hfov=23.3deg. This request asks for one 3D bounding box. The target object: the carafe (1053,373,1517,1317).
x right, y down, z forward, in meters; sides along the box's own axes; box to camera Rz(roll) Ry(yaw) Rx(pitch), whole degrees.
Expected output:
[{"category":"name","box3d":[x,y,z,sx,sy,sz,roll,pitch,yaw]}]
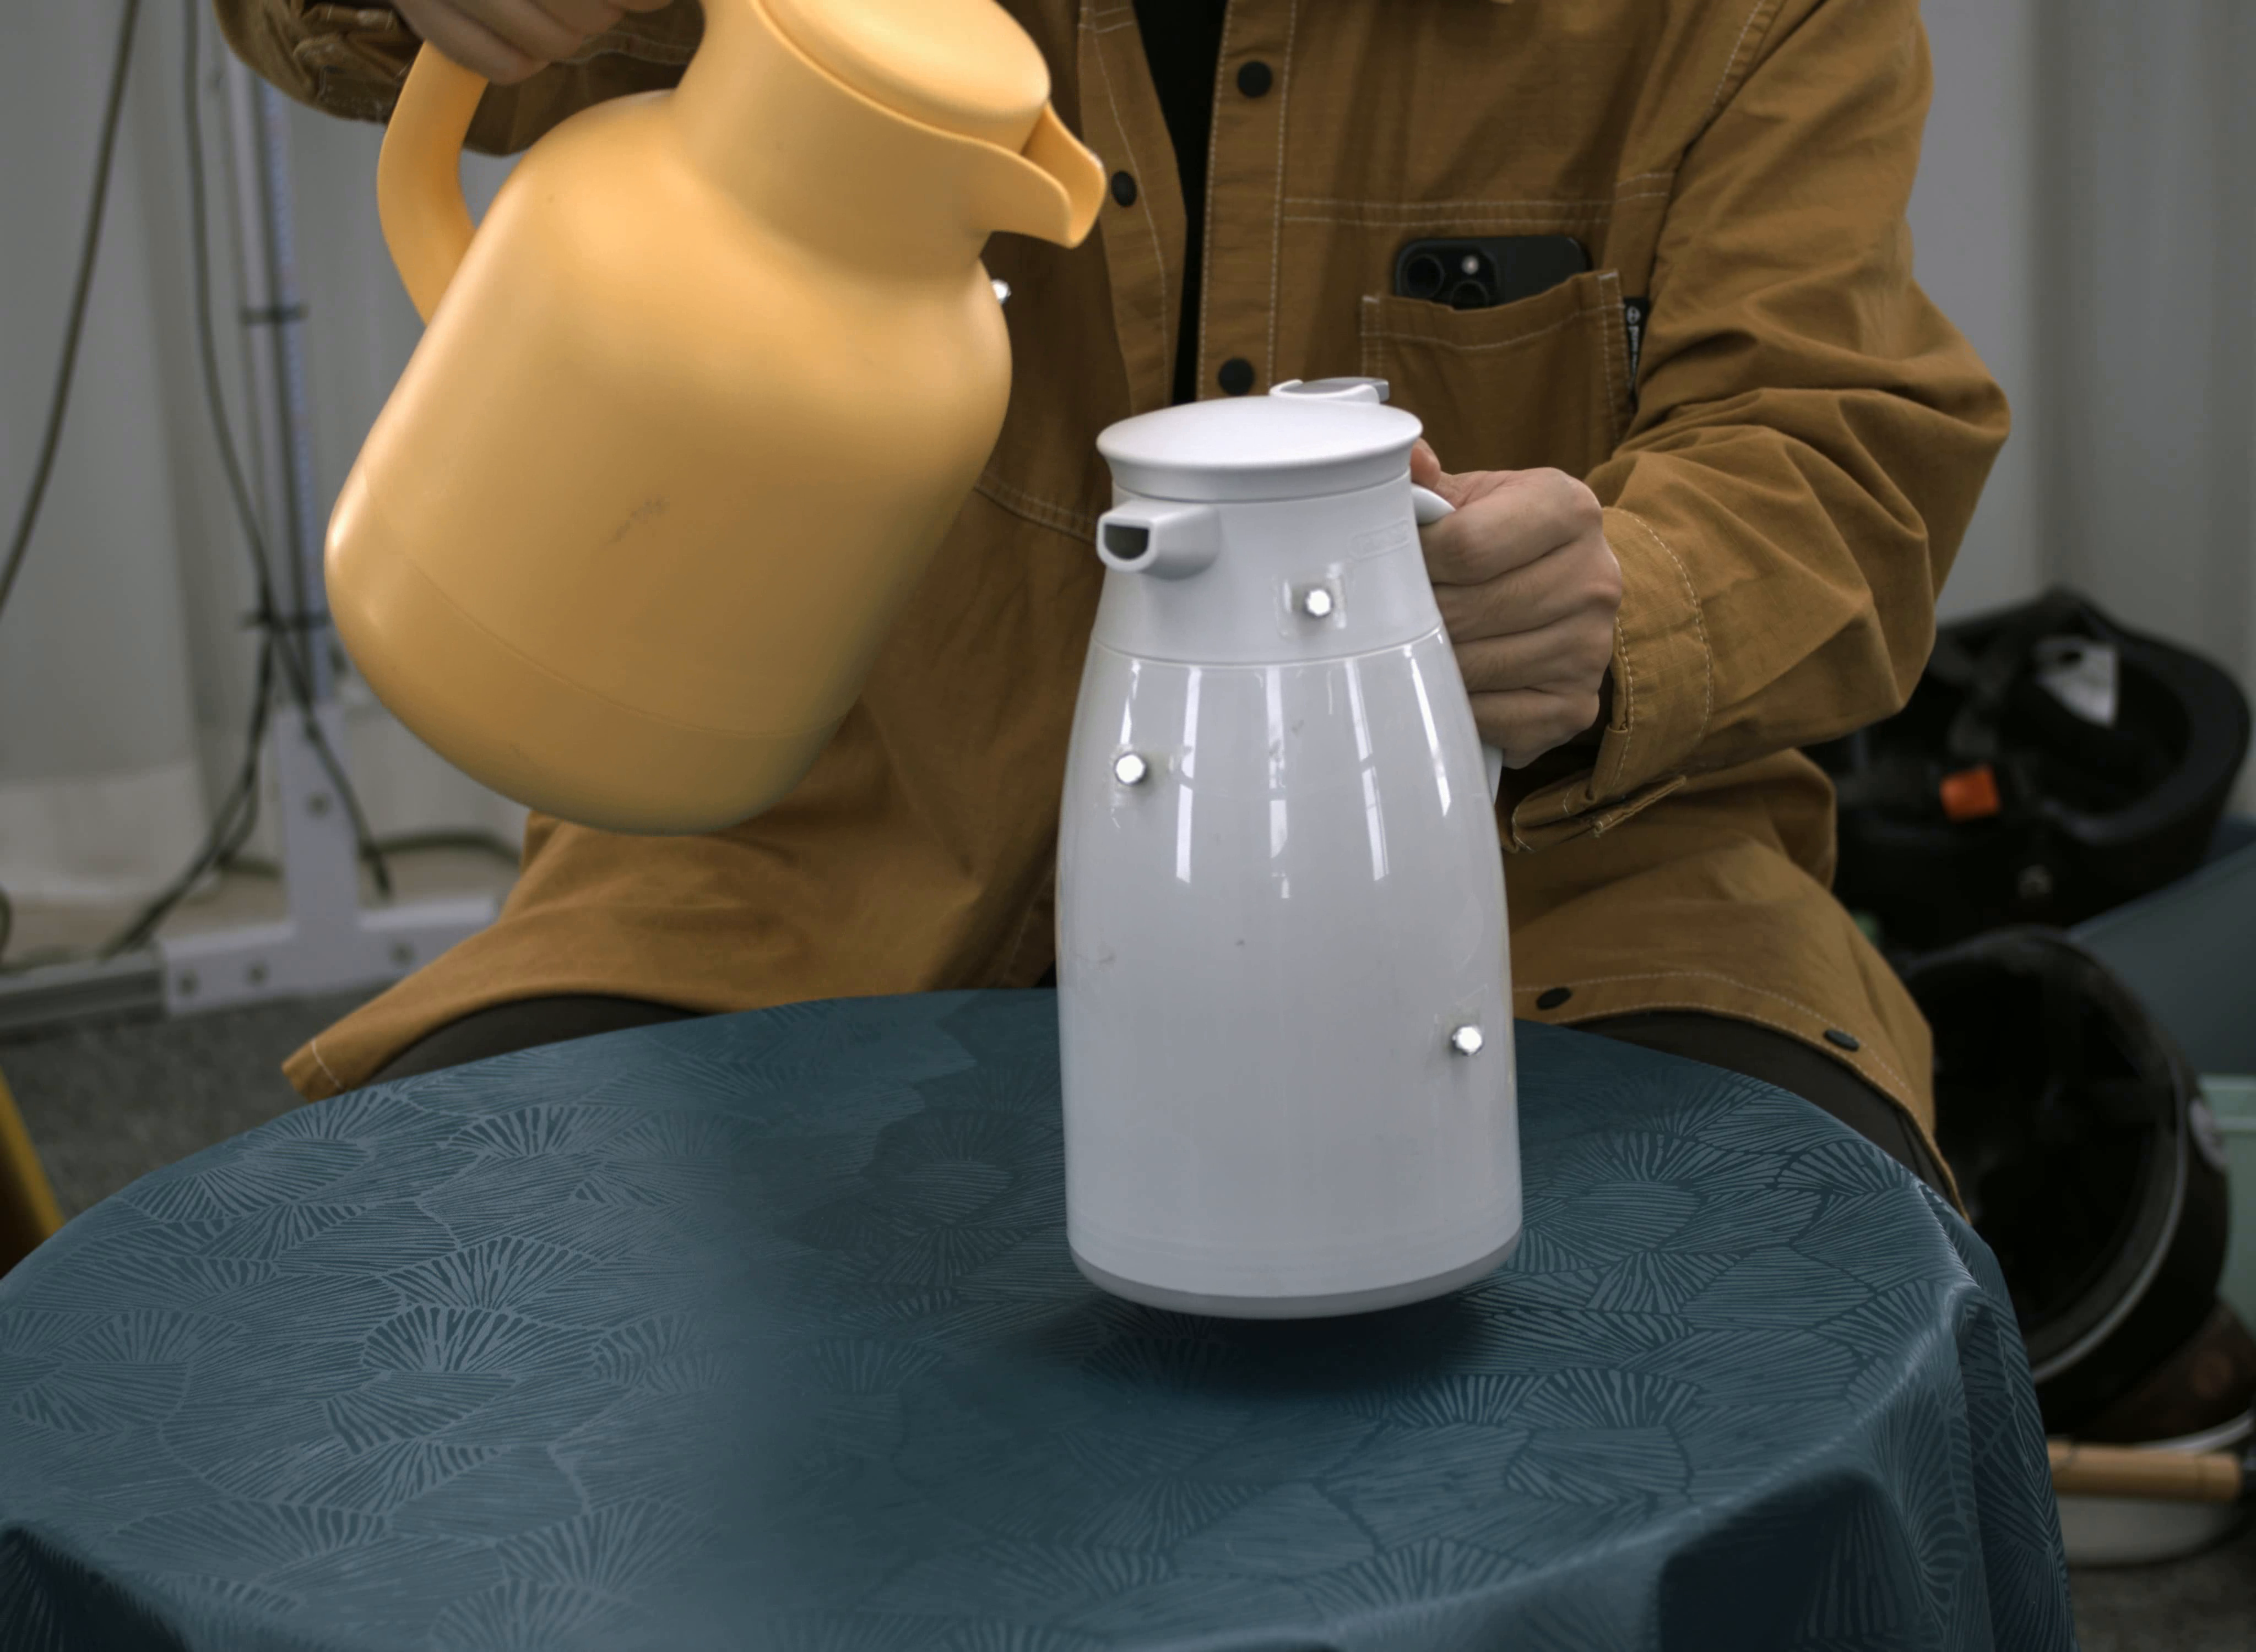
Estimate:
[{"category":"carafe","box3d":[0.053,-0.003,1.571,0.133,0.248,0.167,7,16,37]}]

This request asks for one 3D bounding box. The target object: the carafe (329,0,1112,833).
[{"category":"carafe","box3d":[-0.130,-0.146,1.593,0.203,0.258,0.164,39,28,11]}]
